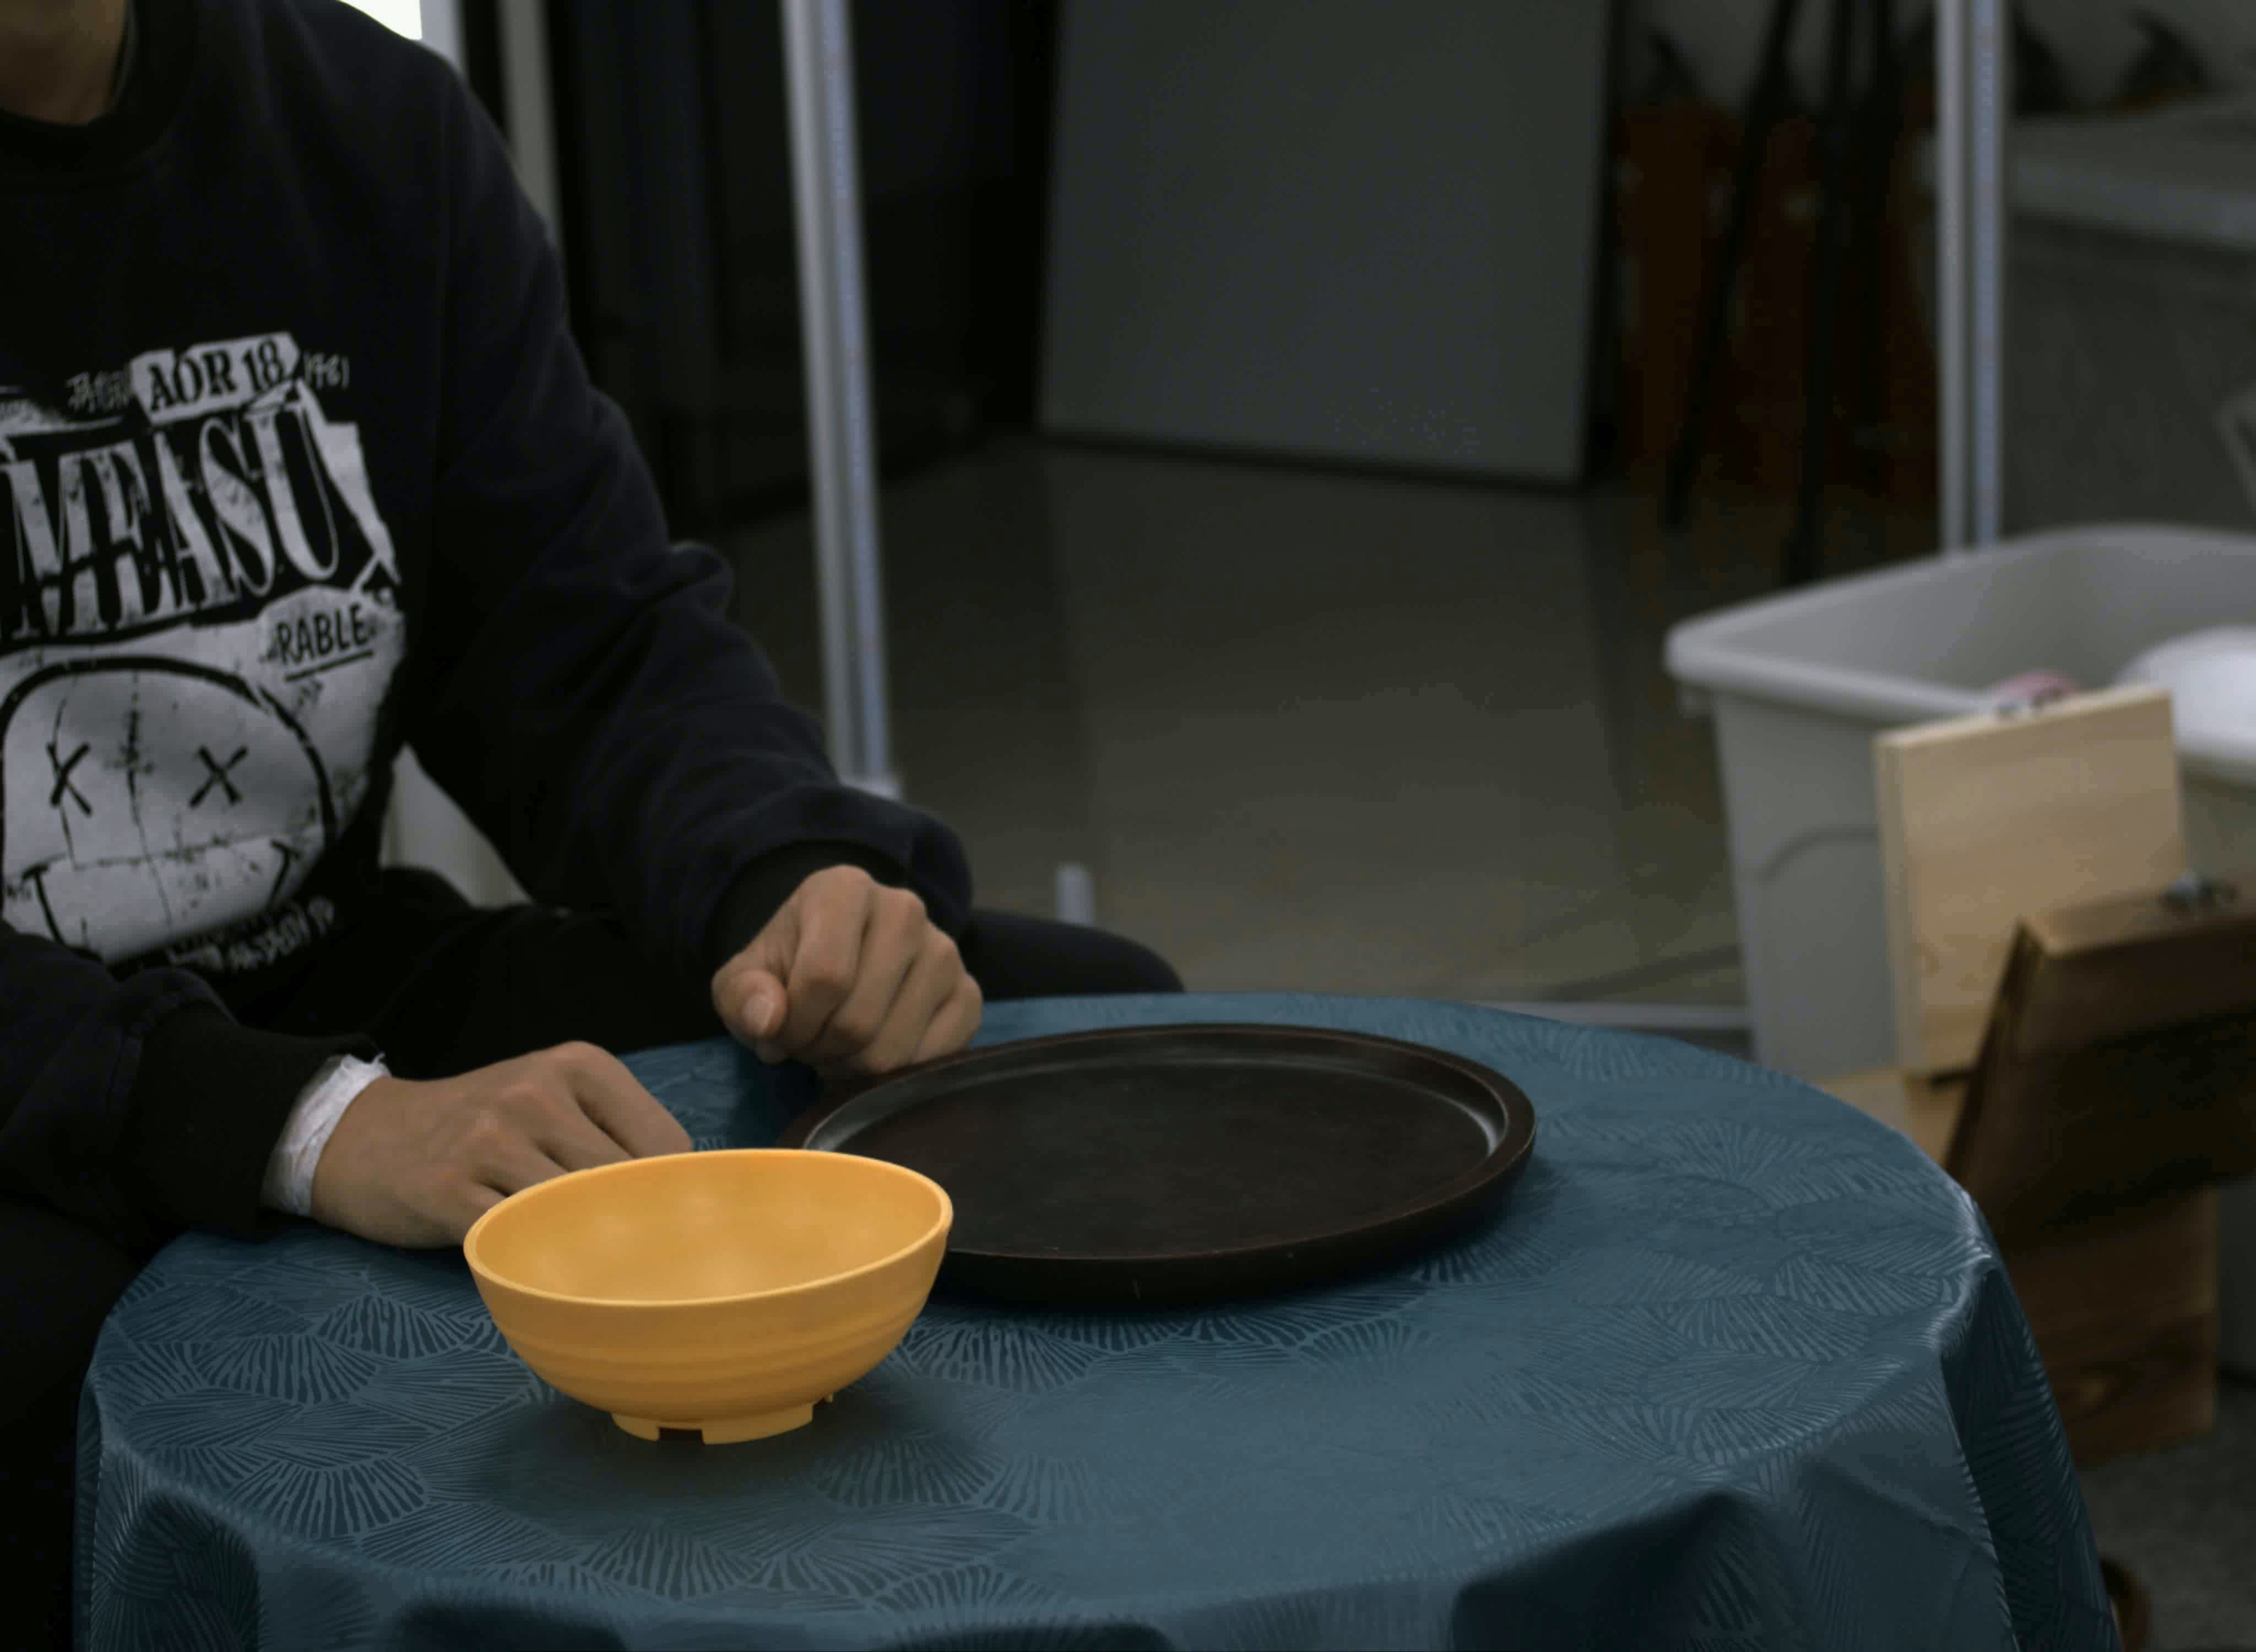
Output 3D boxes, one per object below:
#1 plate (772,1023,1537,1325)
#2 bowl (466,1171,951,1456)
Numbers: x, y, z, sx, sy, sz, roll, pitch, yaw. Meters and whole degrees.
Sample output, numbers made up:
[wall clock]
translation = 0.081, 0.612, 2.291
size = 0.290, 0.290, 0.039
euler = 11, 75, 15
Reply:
[plate]
translation = 0.009, 0.111, 1.763
size = 0.251, 0.029, 0.255
euler = -6, 14, 1
[bowl]
translation = -0.121, 0.147, 1.588
size = 0.143, 0.061, 0.145
euler = -4, 11, 0
